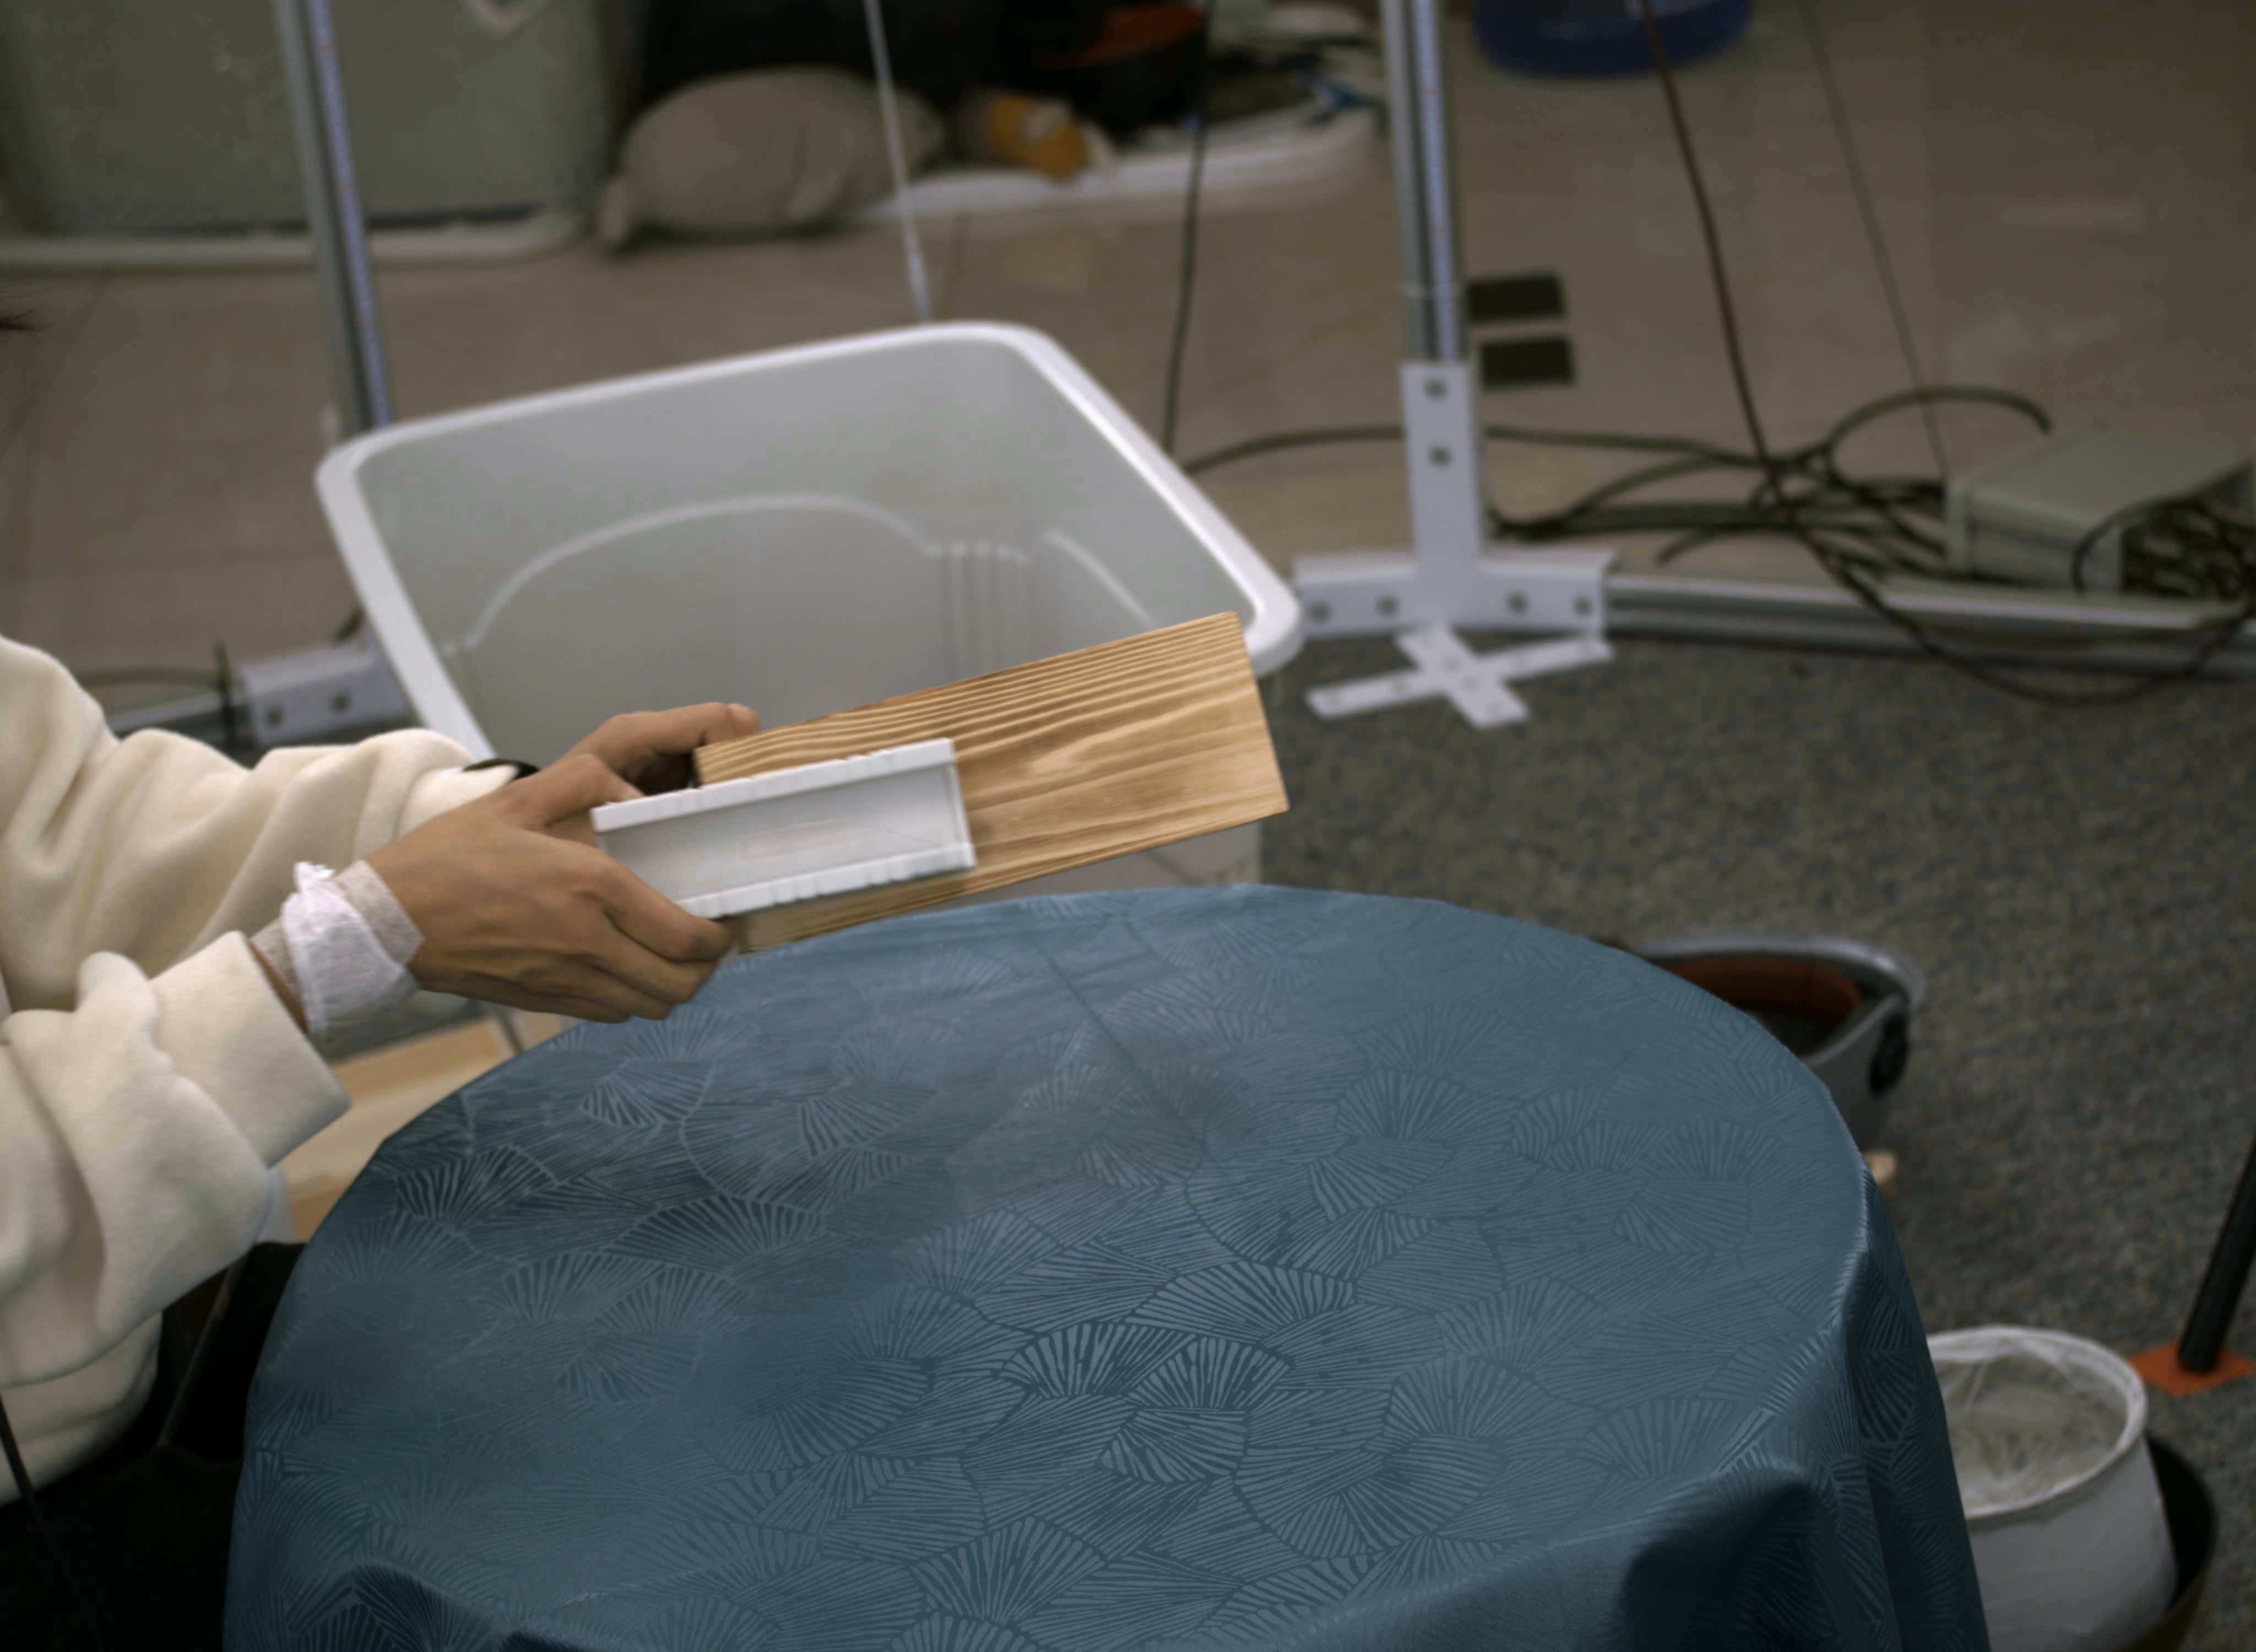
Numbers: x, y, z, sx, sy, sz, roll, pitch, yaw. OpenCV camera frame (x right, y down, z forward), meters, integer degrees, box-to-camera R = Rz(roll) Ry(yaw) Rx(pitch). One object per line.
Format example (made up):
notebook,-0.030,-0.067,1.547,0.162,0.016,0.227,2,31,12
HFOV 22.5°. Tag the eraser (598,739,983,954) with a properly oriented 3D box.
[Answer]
eraser,-0.124,0.008,2.077,0.134,0.050,0.046,-13,1,-6

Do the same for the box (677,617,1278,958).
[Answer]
box,-0.059,-0.014,2.162,0.211,0.080,0.107,-14,0,-7
